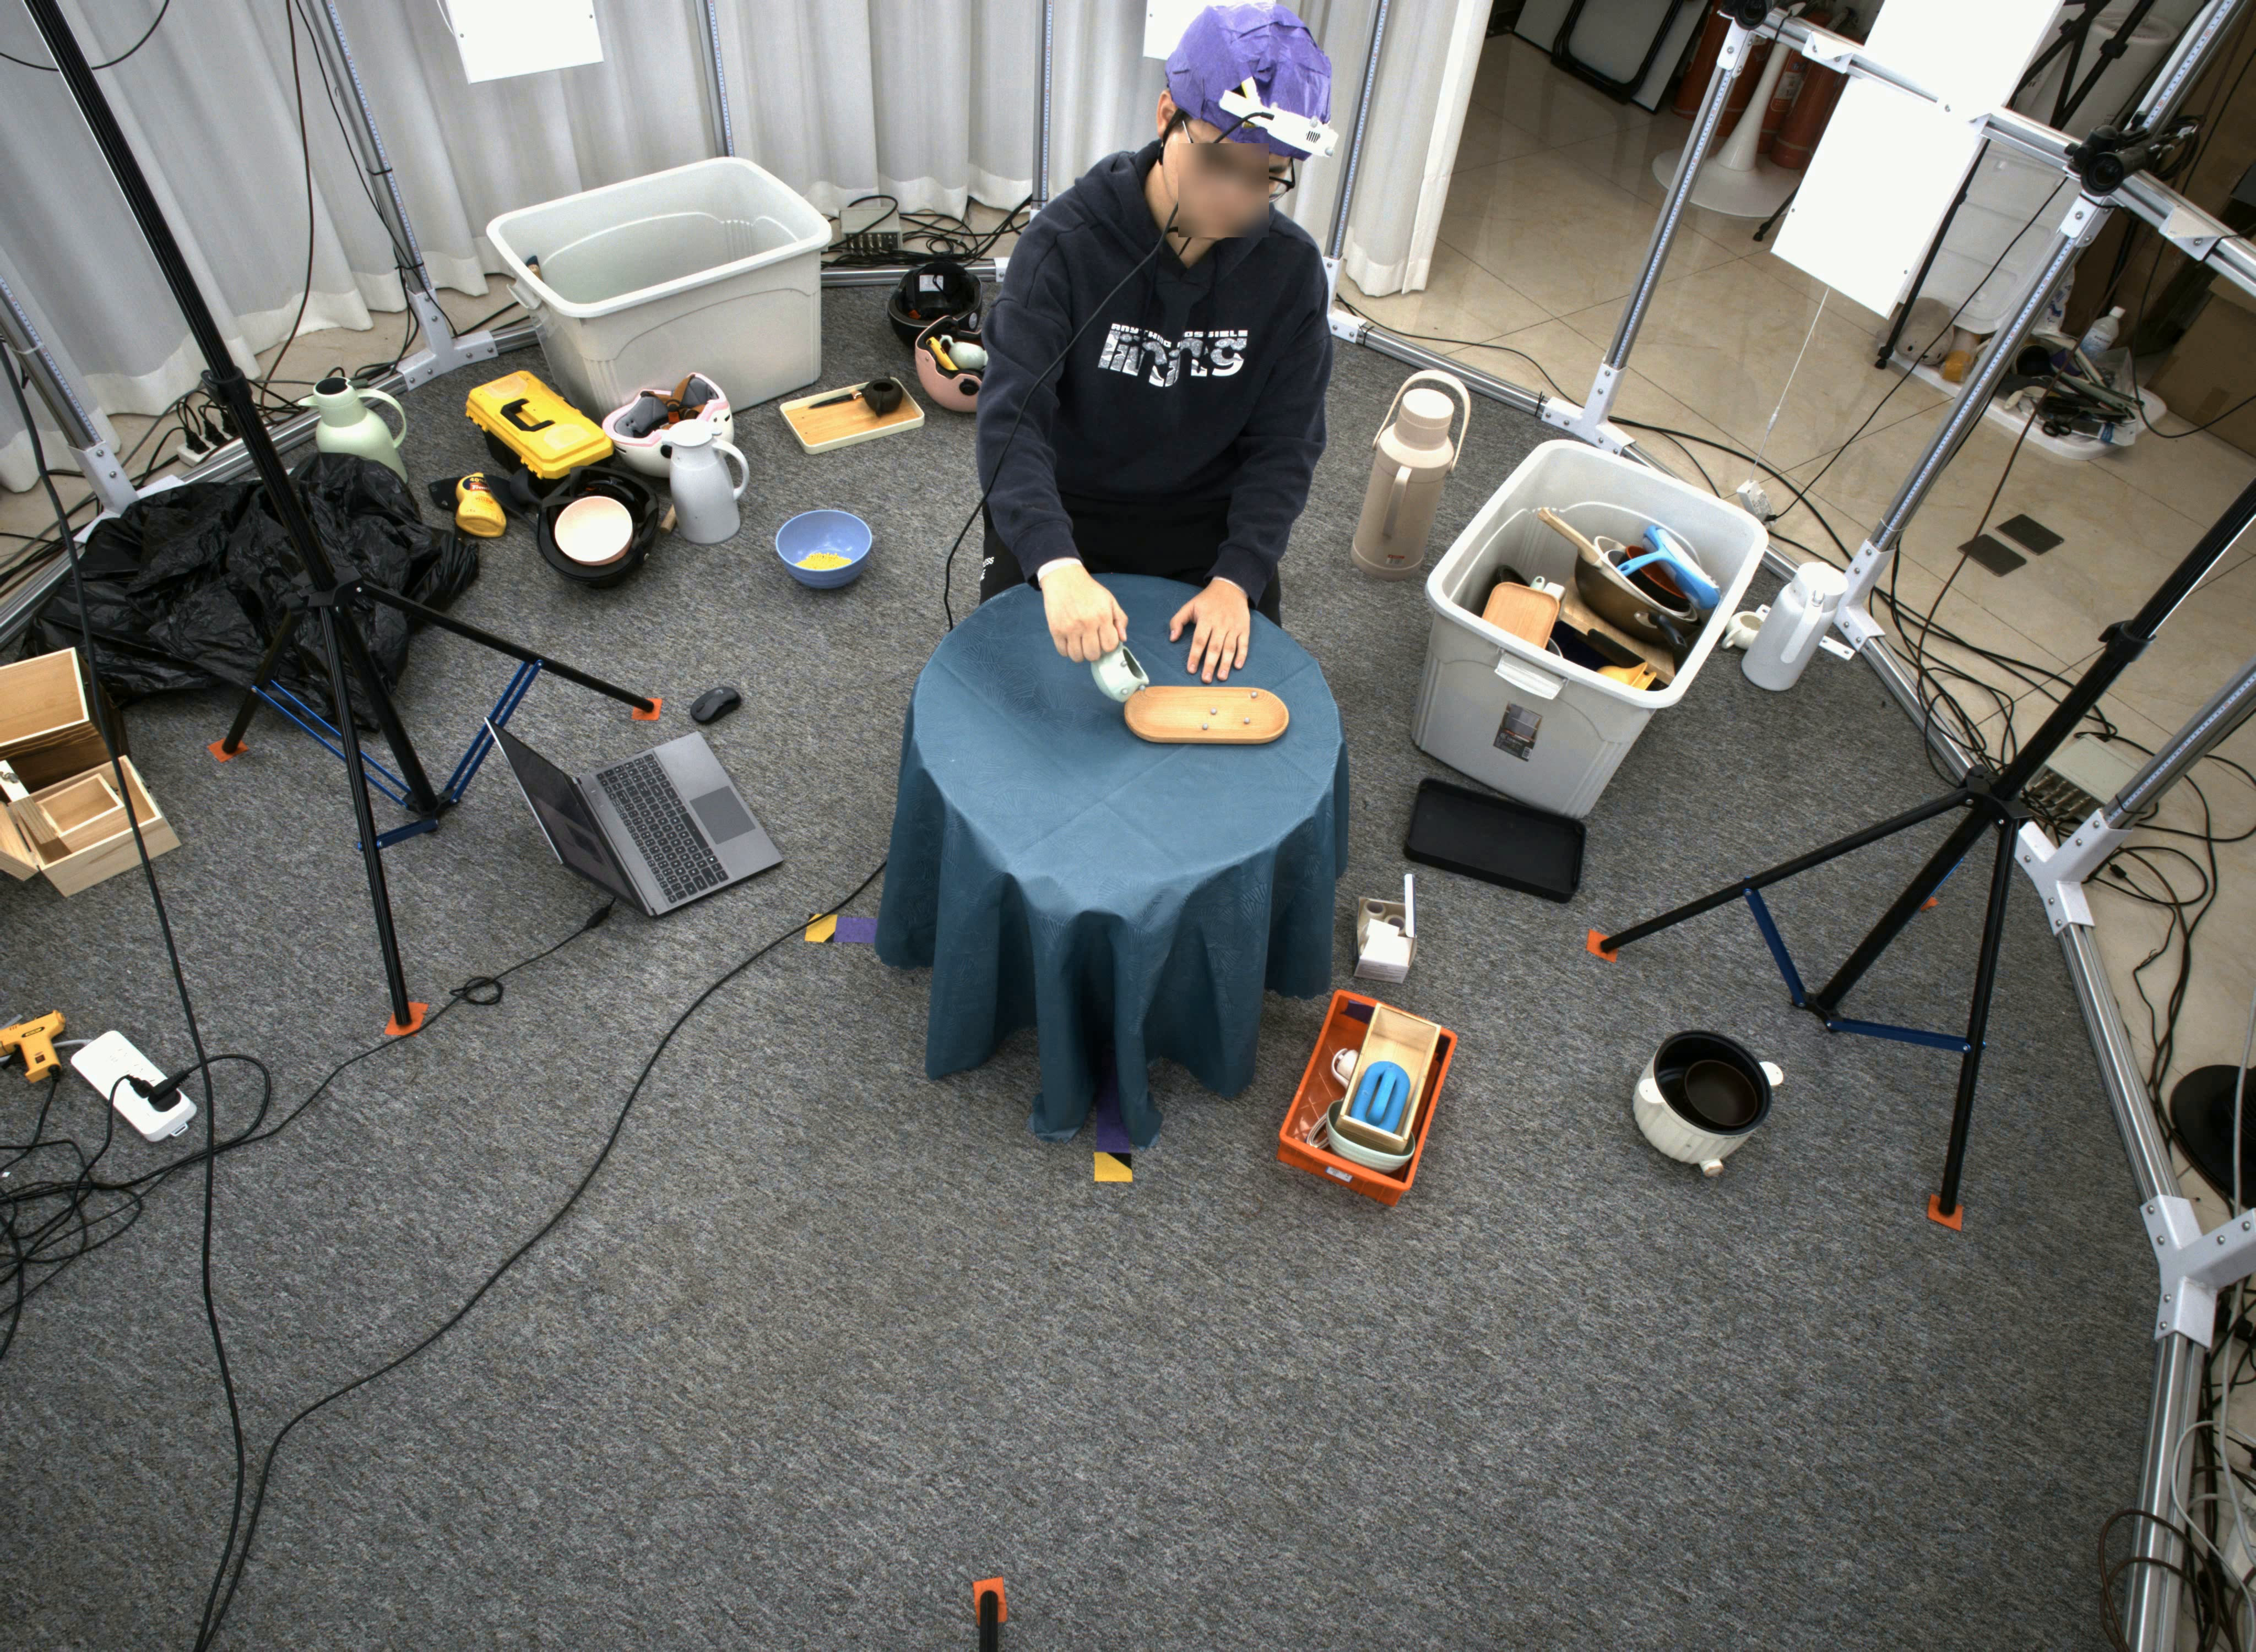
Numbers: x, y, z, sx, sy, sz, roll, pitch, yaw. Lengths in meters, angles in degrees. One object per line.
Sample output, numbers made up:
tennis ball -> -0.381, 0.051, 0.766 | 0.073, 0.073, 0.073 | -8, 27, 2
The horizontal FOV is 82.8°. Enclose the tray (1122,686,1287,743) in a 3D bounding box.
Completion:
tray -> 0.107, -0.156, 1.799 | 0.231, 0.020, 0.104 | -1, 48, -3

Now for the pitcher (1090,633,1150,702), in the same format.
pitcher -> -0.020, -0.218, 1.733 | 0.060, 0.106, 0.088 | -24, 45, 19
